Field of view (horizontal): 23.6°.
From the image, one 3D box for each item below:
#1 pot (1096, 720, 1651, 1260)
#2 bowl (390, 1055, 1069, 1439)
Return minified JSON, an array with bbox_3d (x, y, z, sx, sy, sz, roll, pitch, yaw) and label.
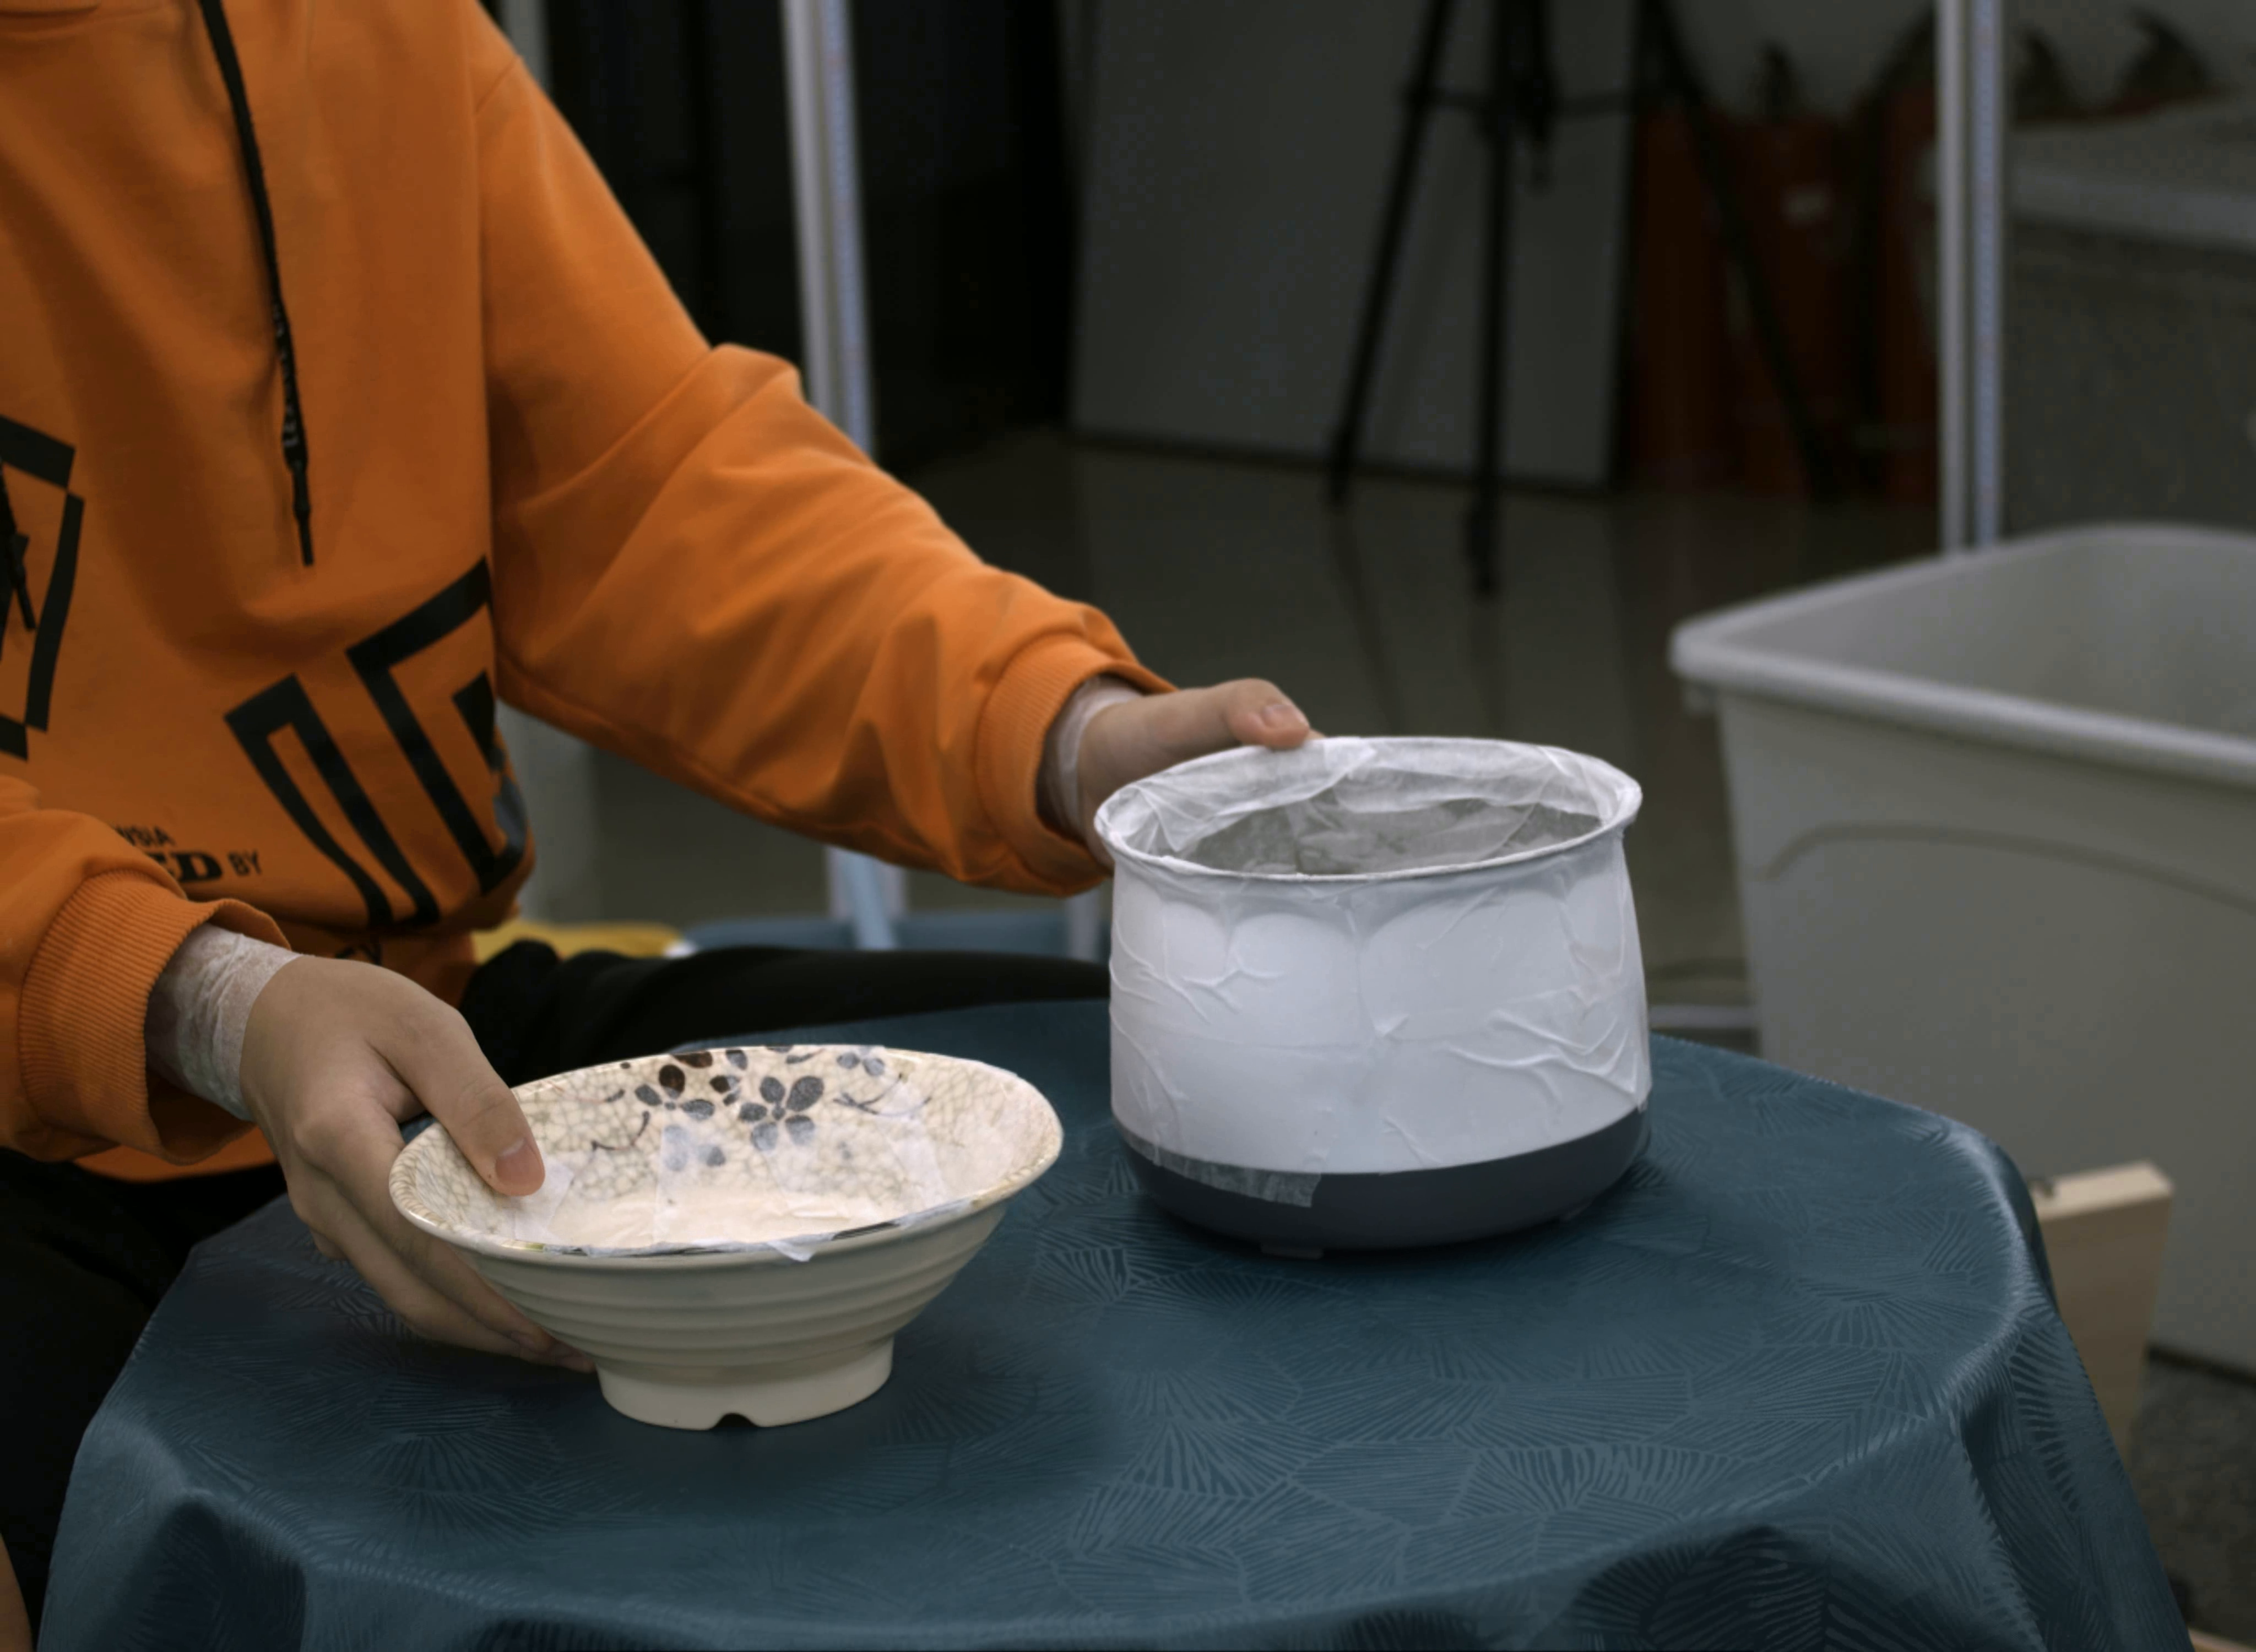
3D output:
[{"bbox_3d":[0.071,0.047,1.760,0.175,0.138,0.236,-8,14,-16],"label":"pot"},{"bbox_3d":[-0.114,0.131,1.606,0.201,0.079,0.204,-6,12,0],"label":"bowl"}]
